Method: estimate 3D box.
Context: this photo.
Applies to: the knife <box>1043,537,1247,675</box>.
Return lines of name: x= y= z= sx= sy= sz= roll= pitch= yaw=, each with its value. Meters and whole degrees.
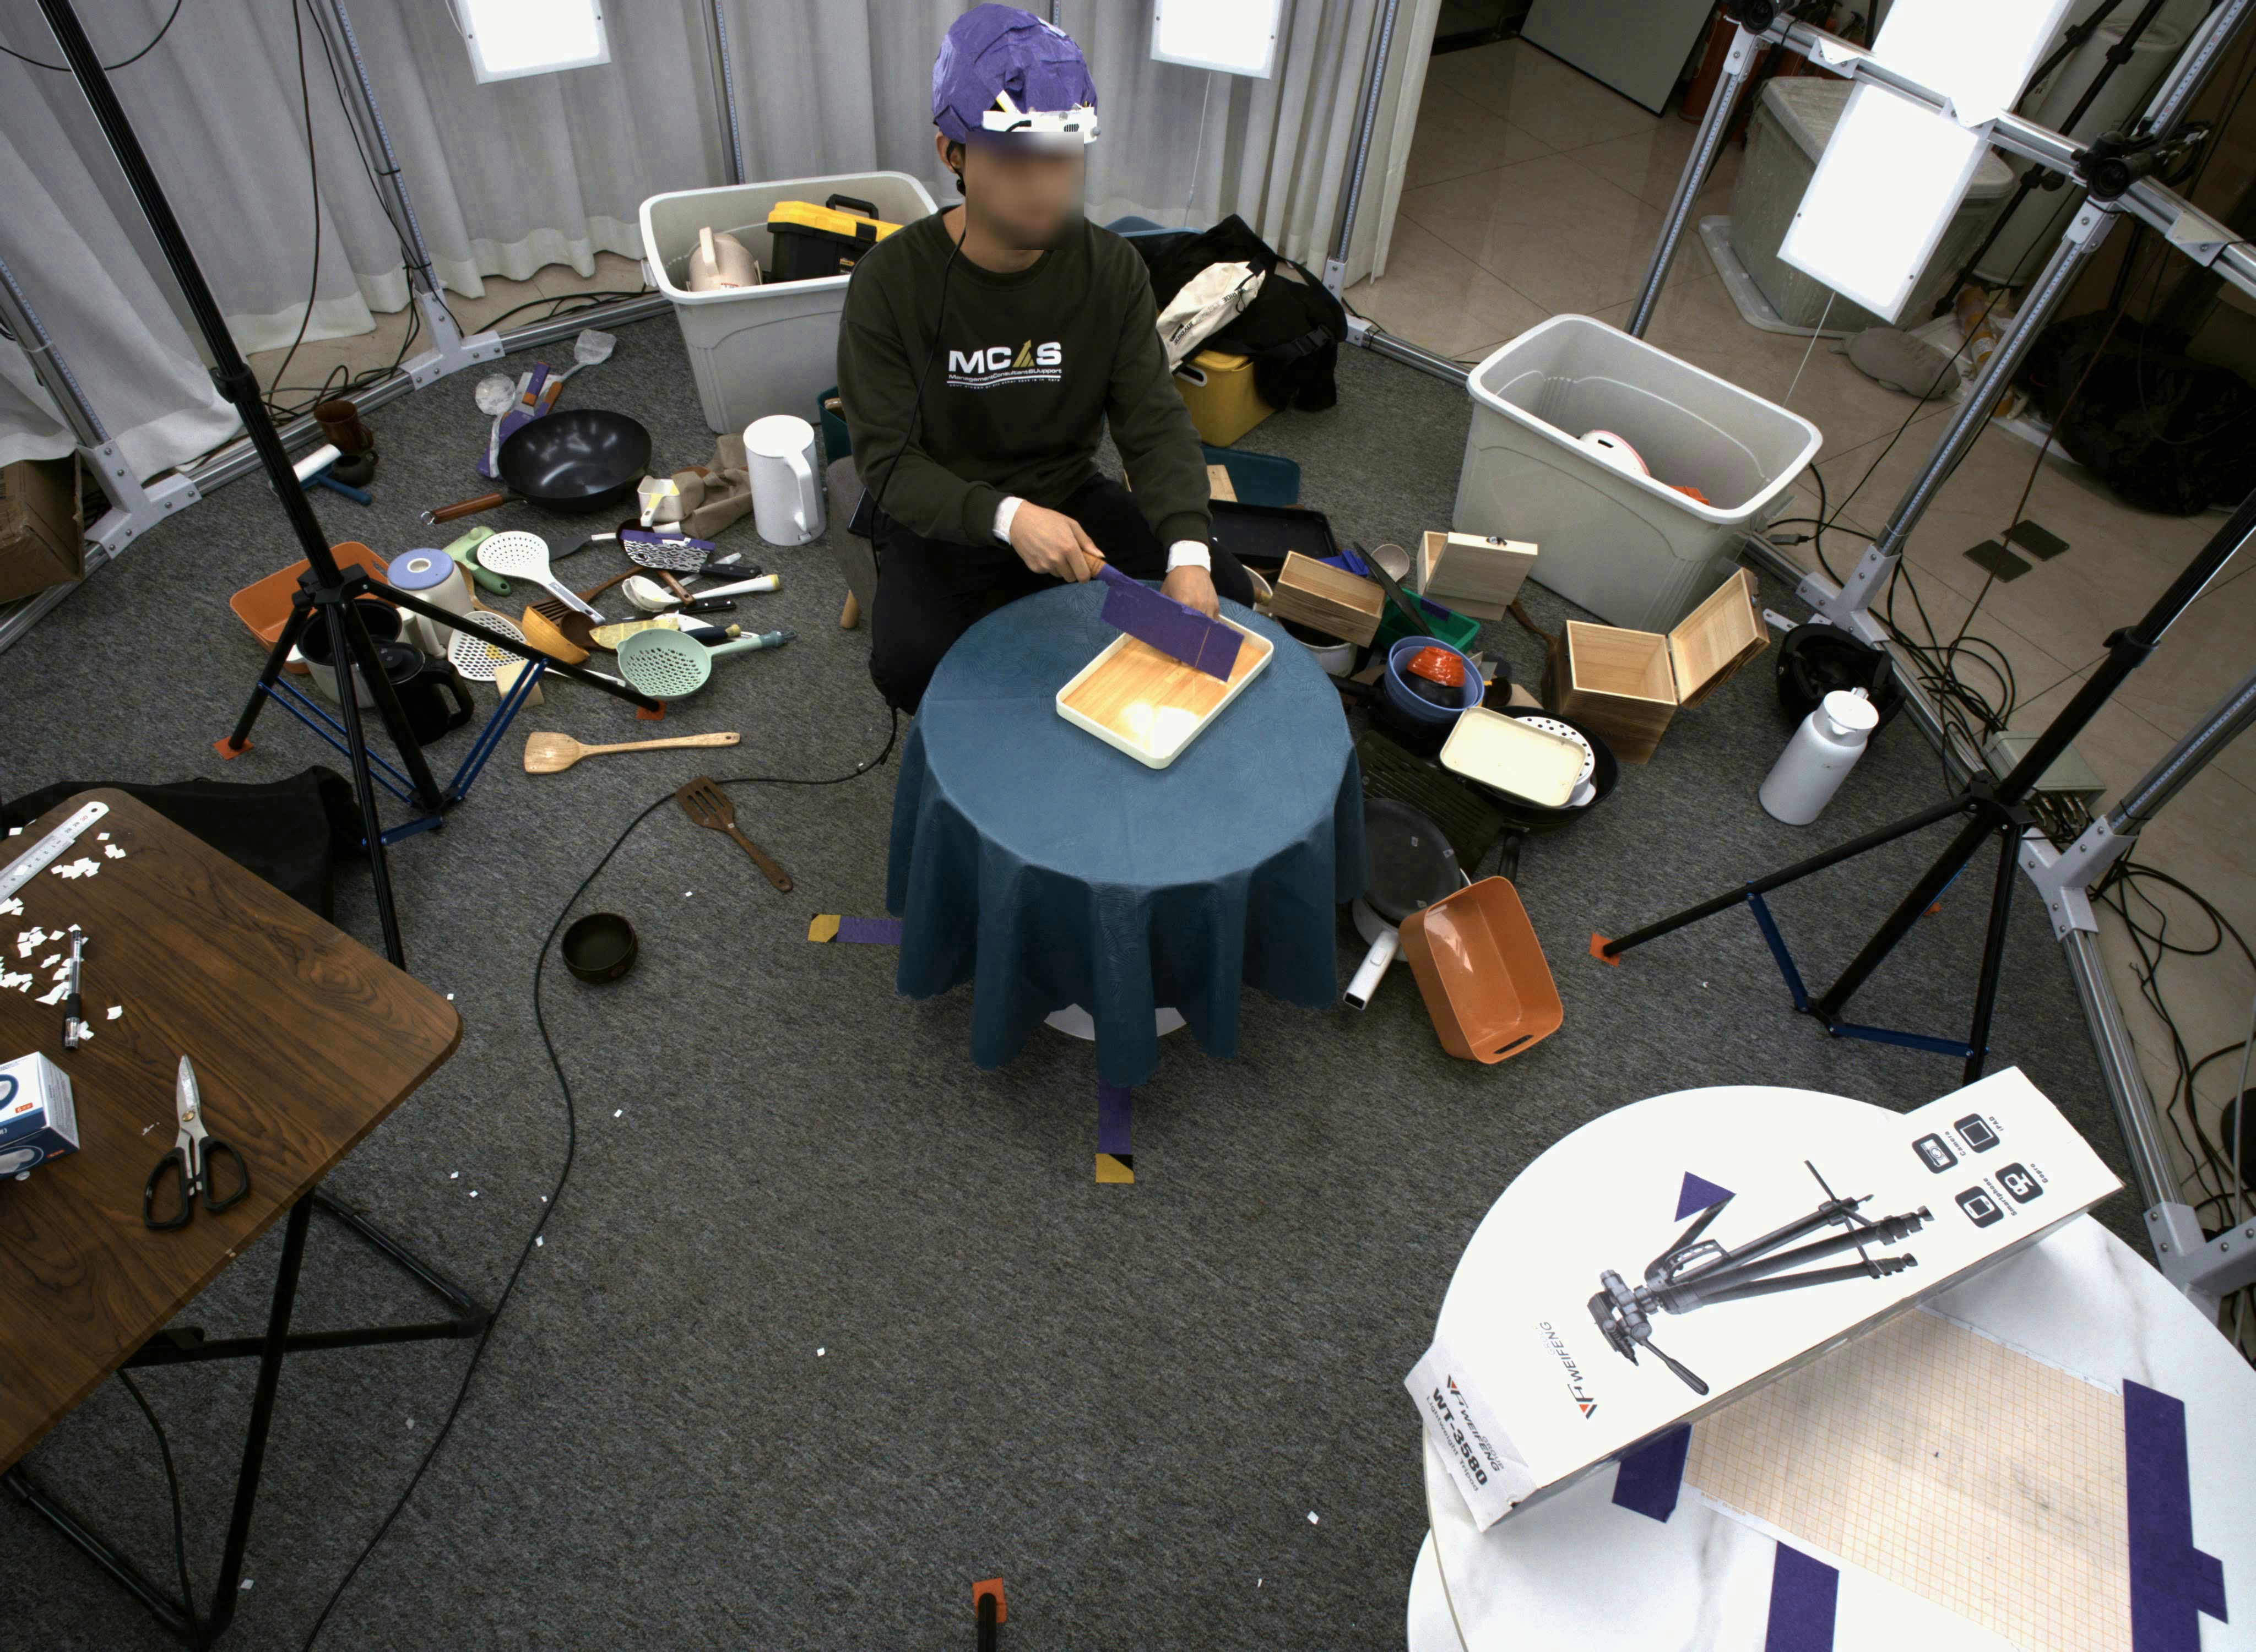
knife: x=0.015 y=-0.307 z=1.832 sx=0.317 sy=0.101 sz=0.033 roll=28 pitch=43 yaw=10

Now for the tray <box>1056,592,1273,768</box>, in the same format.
tray: x=0.055 y=-0.215 z=1.839 sx=0.193 sy=0.027 sz=0.304 roll=30 pitch=54 yaw=20
